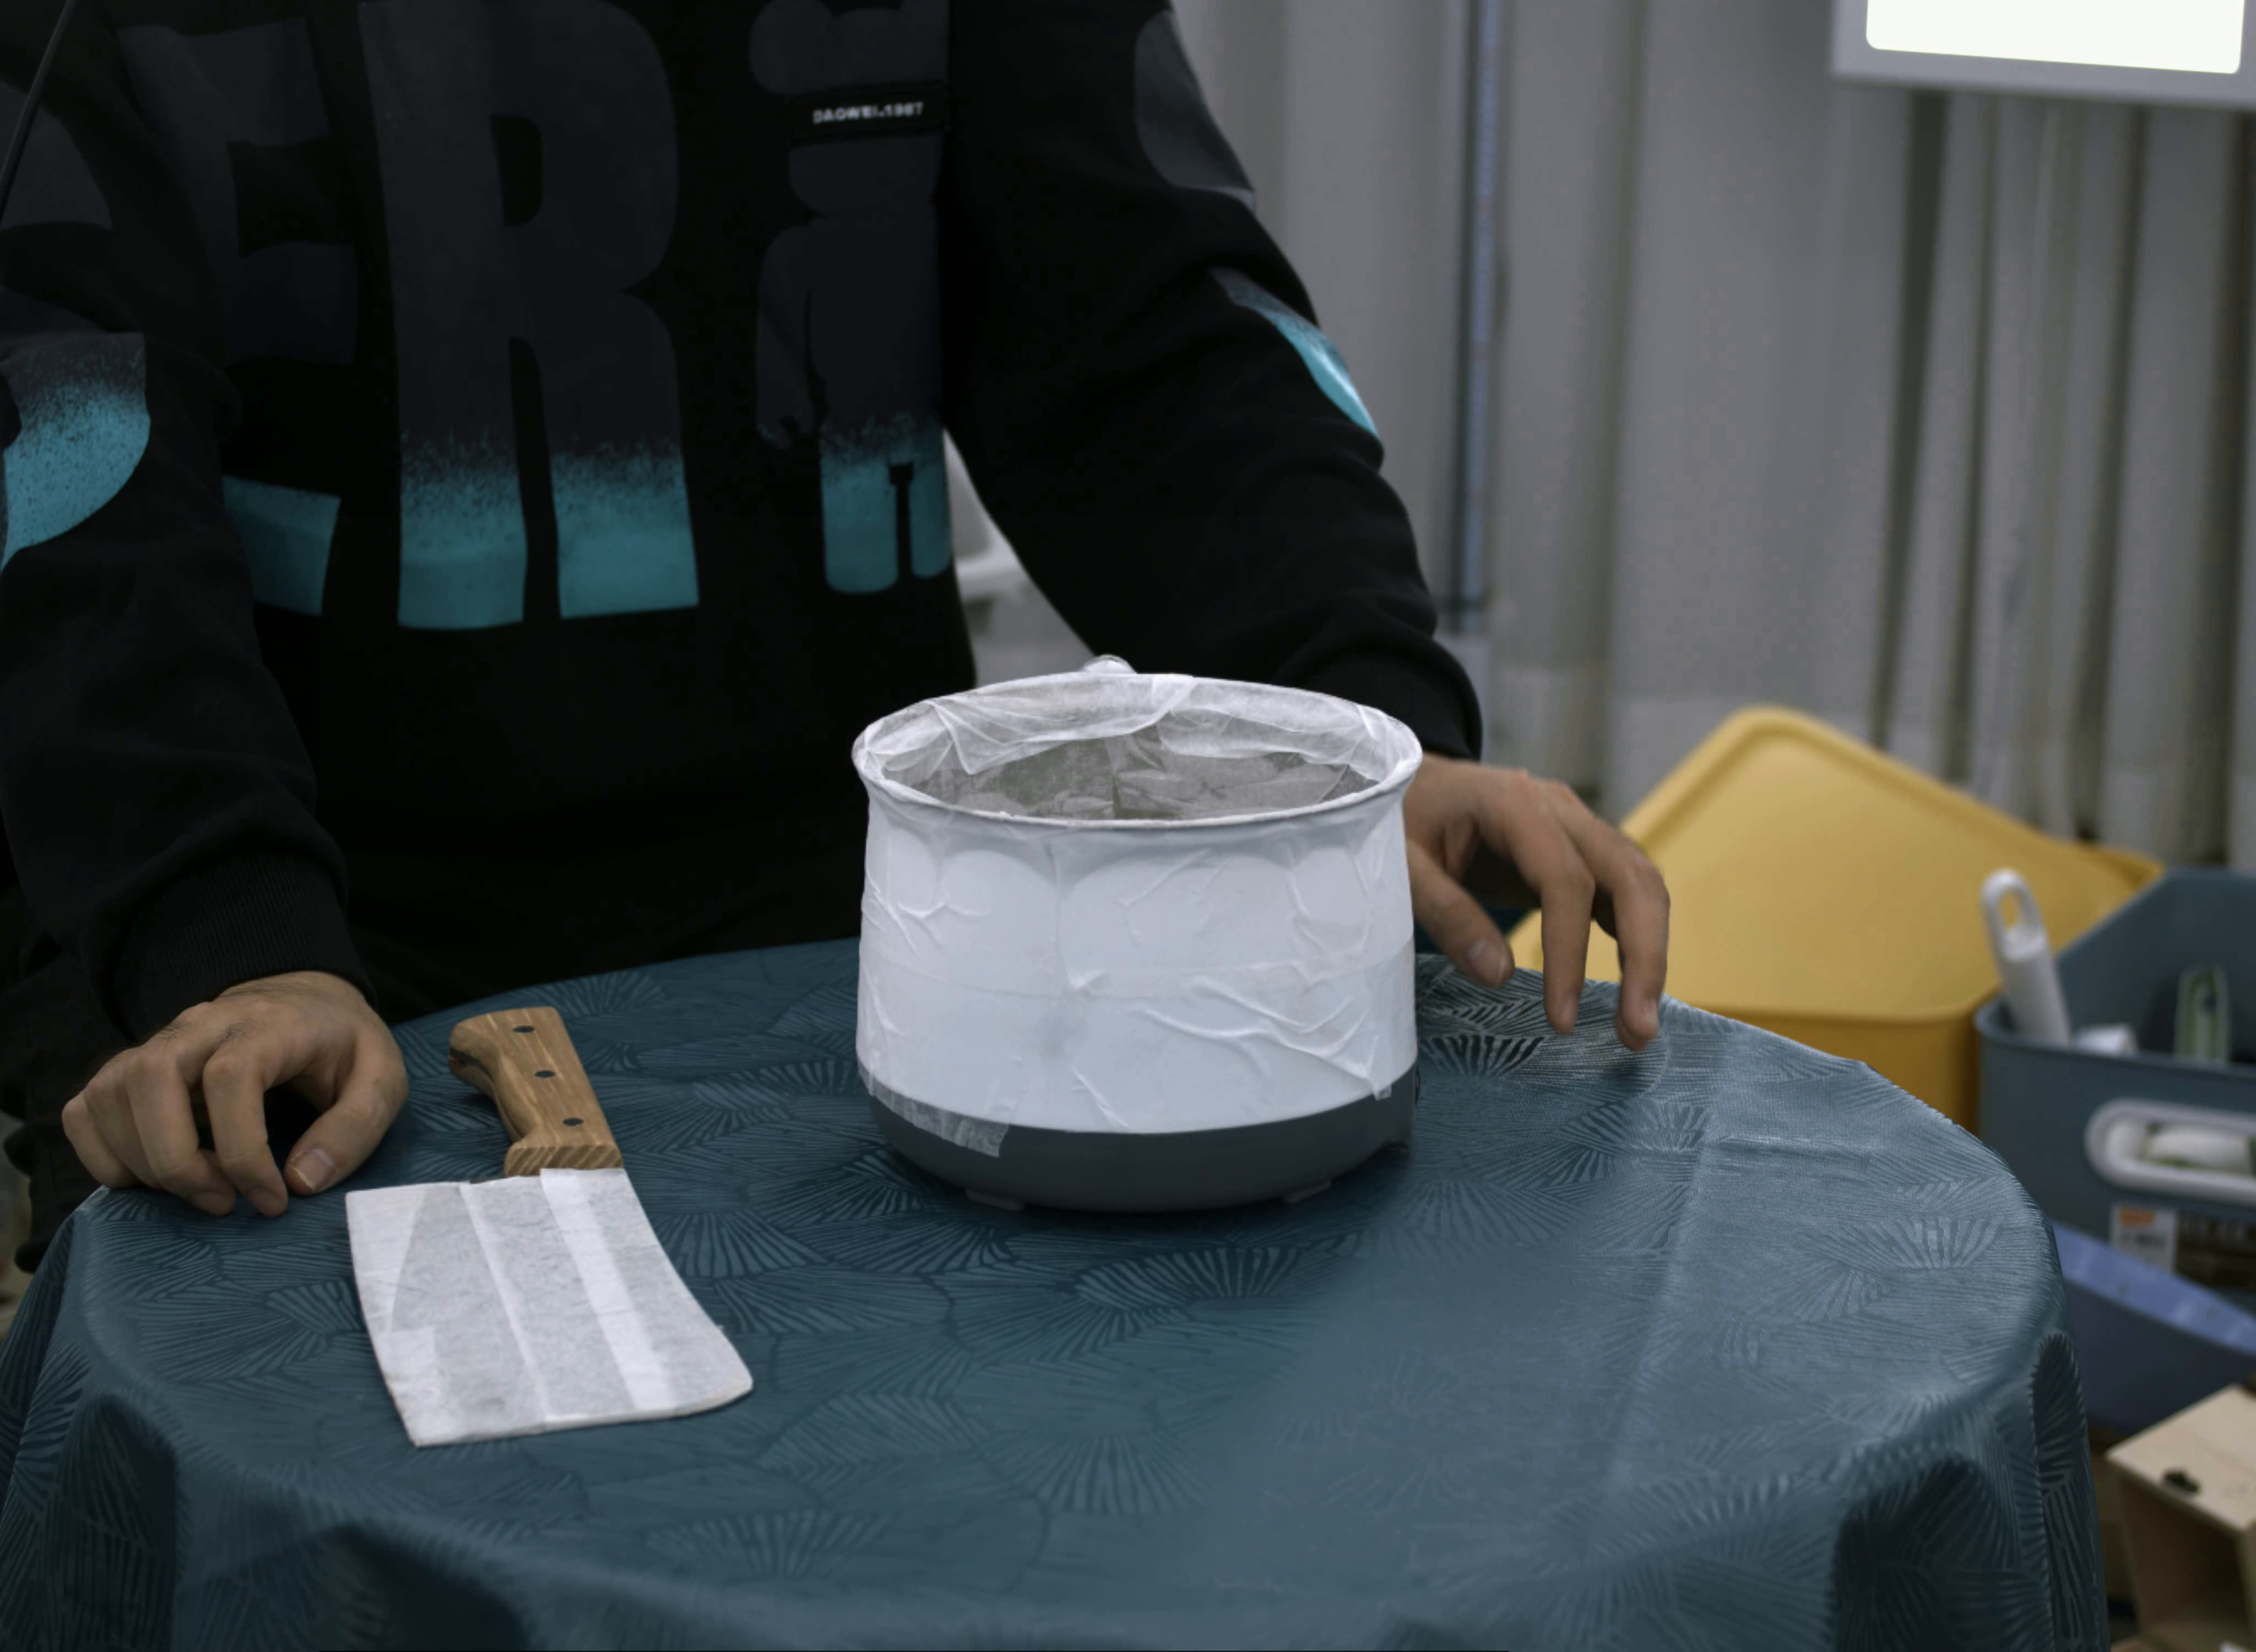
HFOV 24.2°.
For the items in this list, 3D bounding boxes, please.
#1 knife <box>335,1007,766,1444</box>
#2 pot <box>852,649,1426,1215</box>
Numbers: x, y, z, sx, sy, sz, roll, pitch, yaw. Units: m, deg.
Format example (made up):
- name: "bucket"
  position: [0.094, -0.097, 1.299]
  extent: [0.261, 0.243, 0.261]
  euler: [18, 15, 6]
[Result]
- name: "knife"
  position: [-0.179, 0.116, 1.570]
  extent: [0.114, 0.022, 0.312]
  euler: [-3, 19, -10]
- name: "pot"
  position: [0.000, 0.028, 1.666]
  extent: [0.178, 0.138, 0.232]
  euler: [-1, 17, -7]
